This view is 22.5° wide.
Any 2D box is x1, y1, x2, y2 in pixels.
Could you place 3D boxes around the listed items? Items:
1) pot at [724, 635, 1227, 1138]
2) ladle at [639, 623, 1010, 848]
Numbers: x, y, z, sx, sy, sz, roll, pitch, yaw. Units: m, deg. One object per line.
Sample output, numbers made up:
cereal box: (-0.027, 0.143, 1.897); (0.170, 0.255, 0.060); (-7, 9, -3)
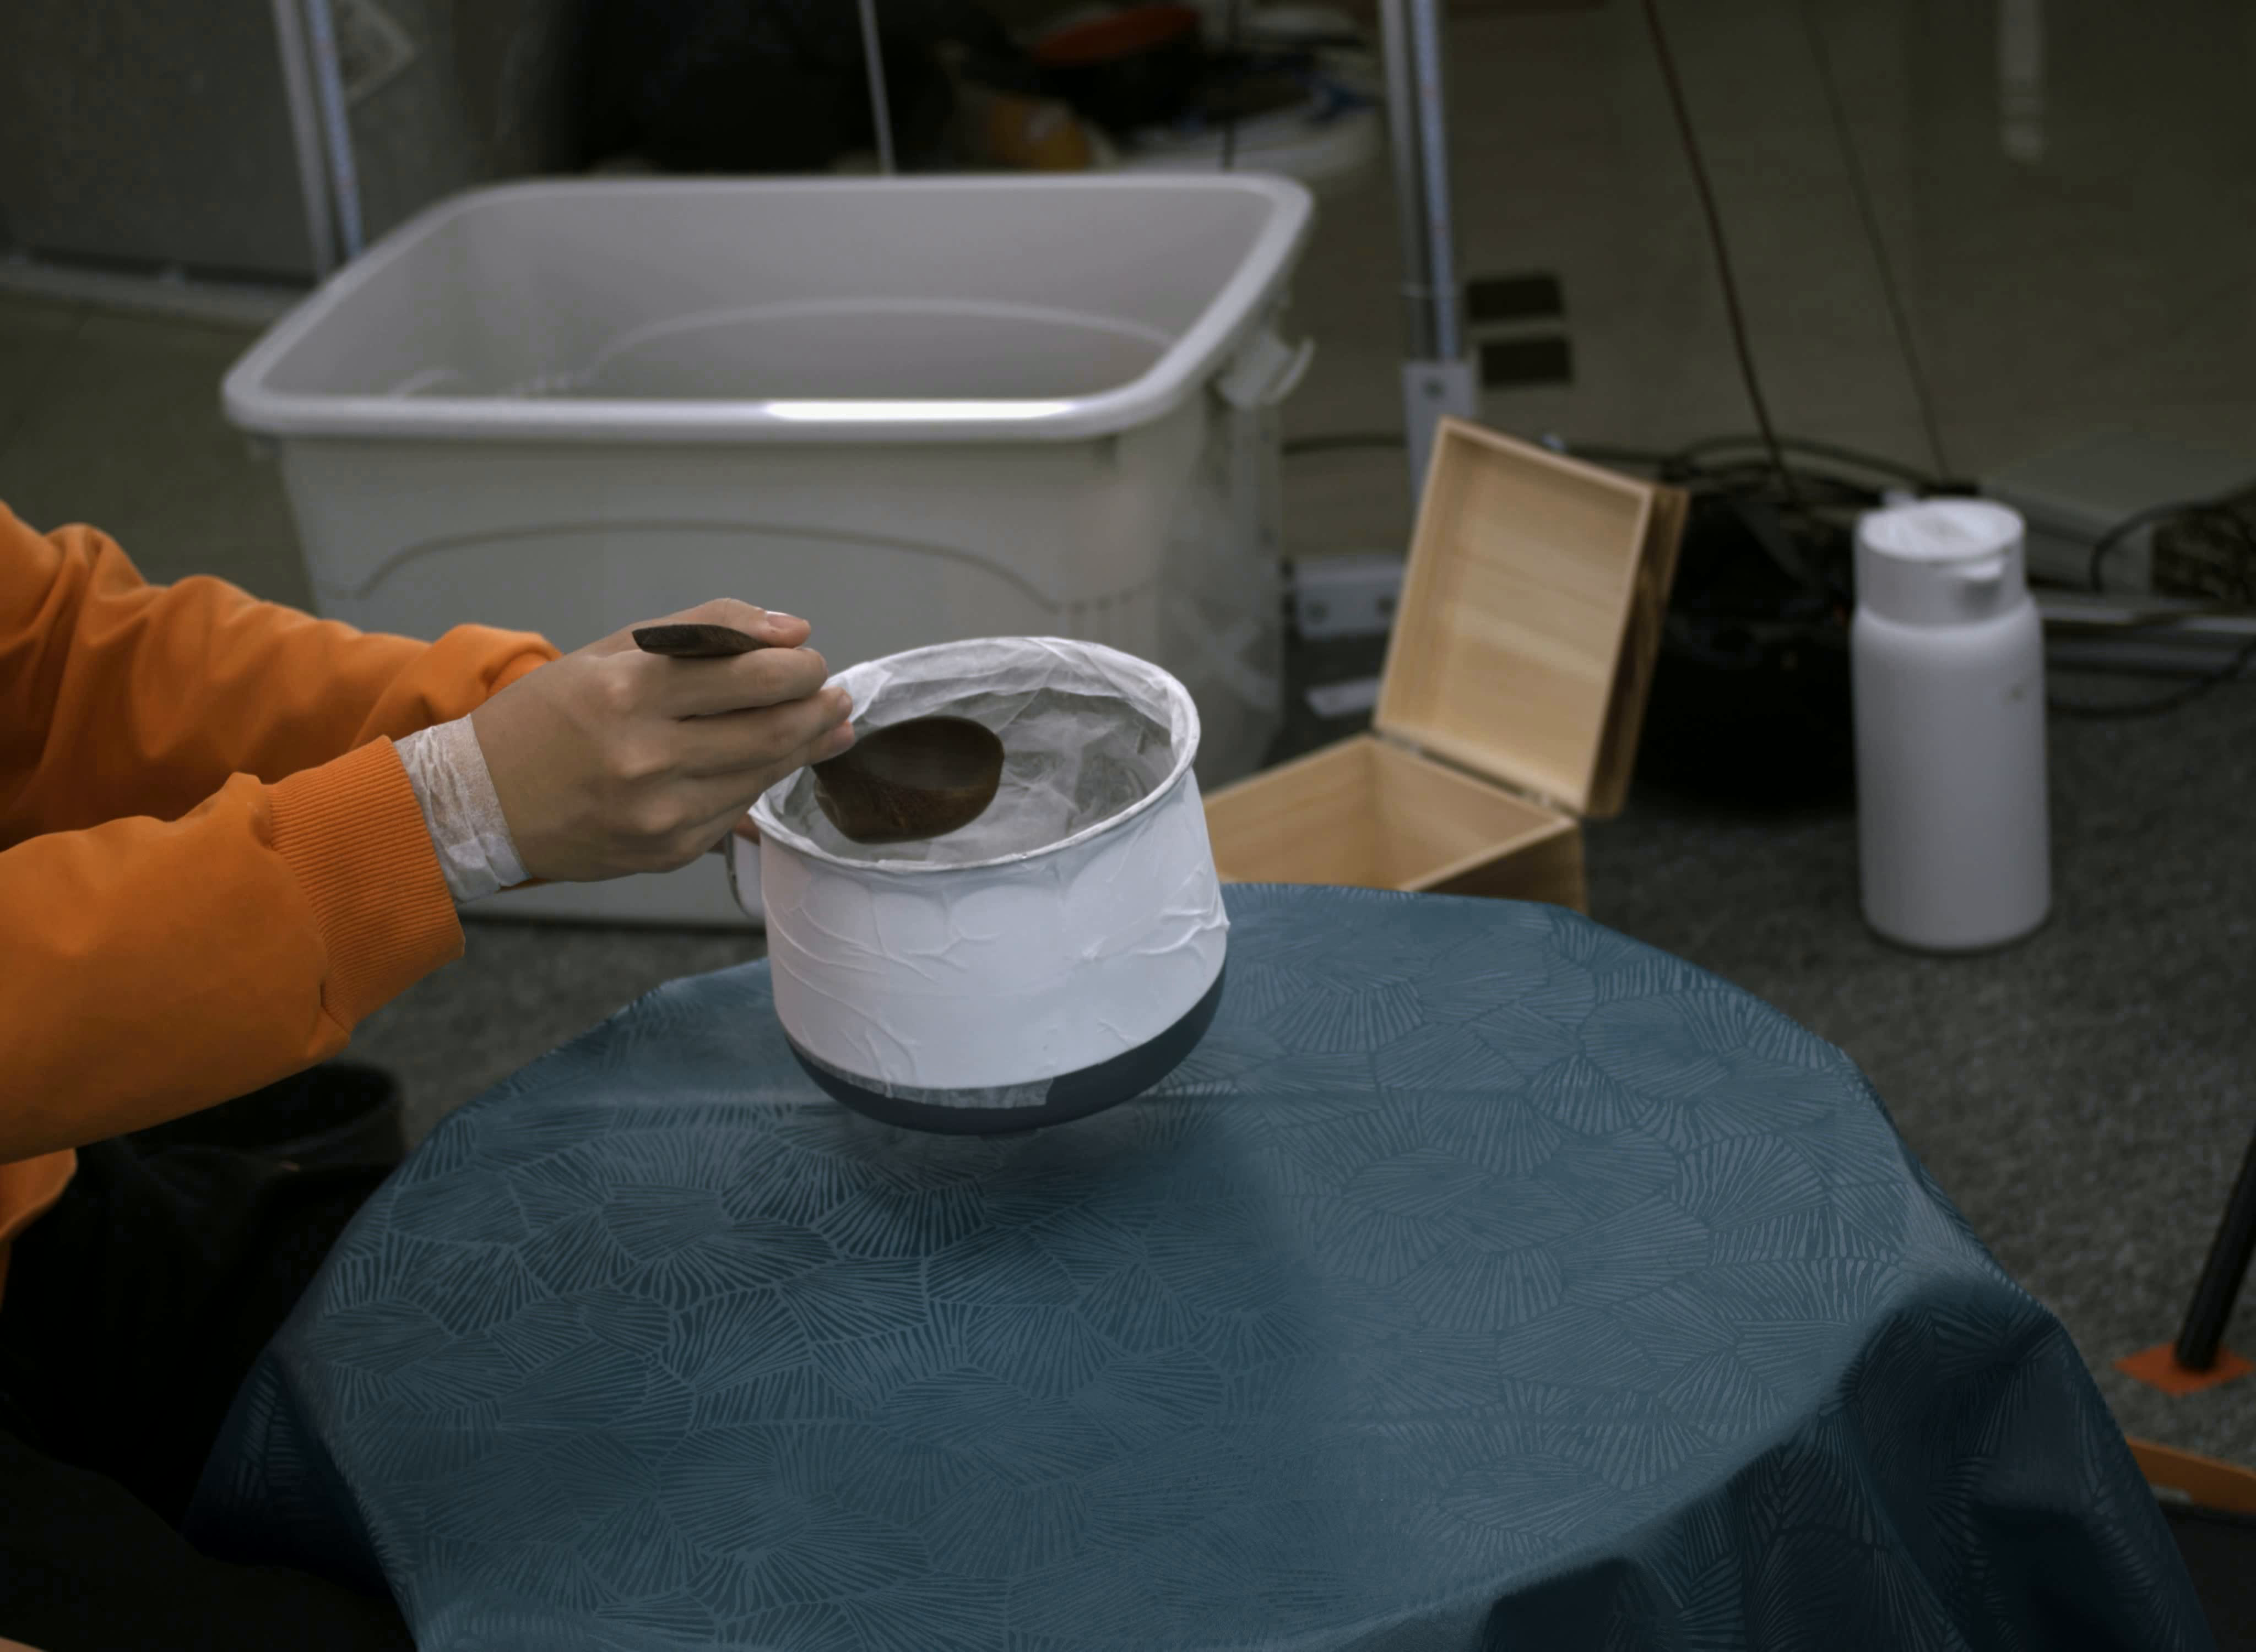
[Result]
pot: (-0.073, 0.017, 2.187); (0.232, 0.139, 0.177); (21, 40, 38)
ladle: (-0.114, -0.052, 2.040); (0.076, 0.277, 0.070); (-8, 69, 16)
